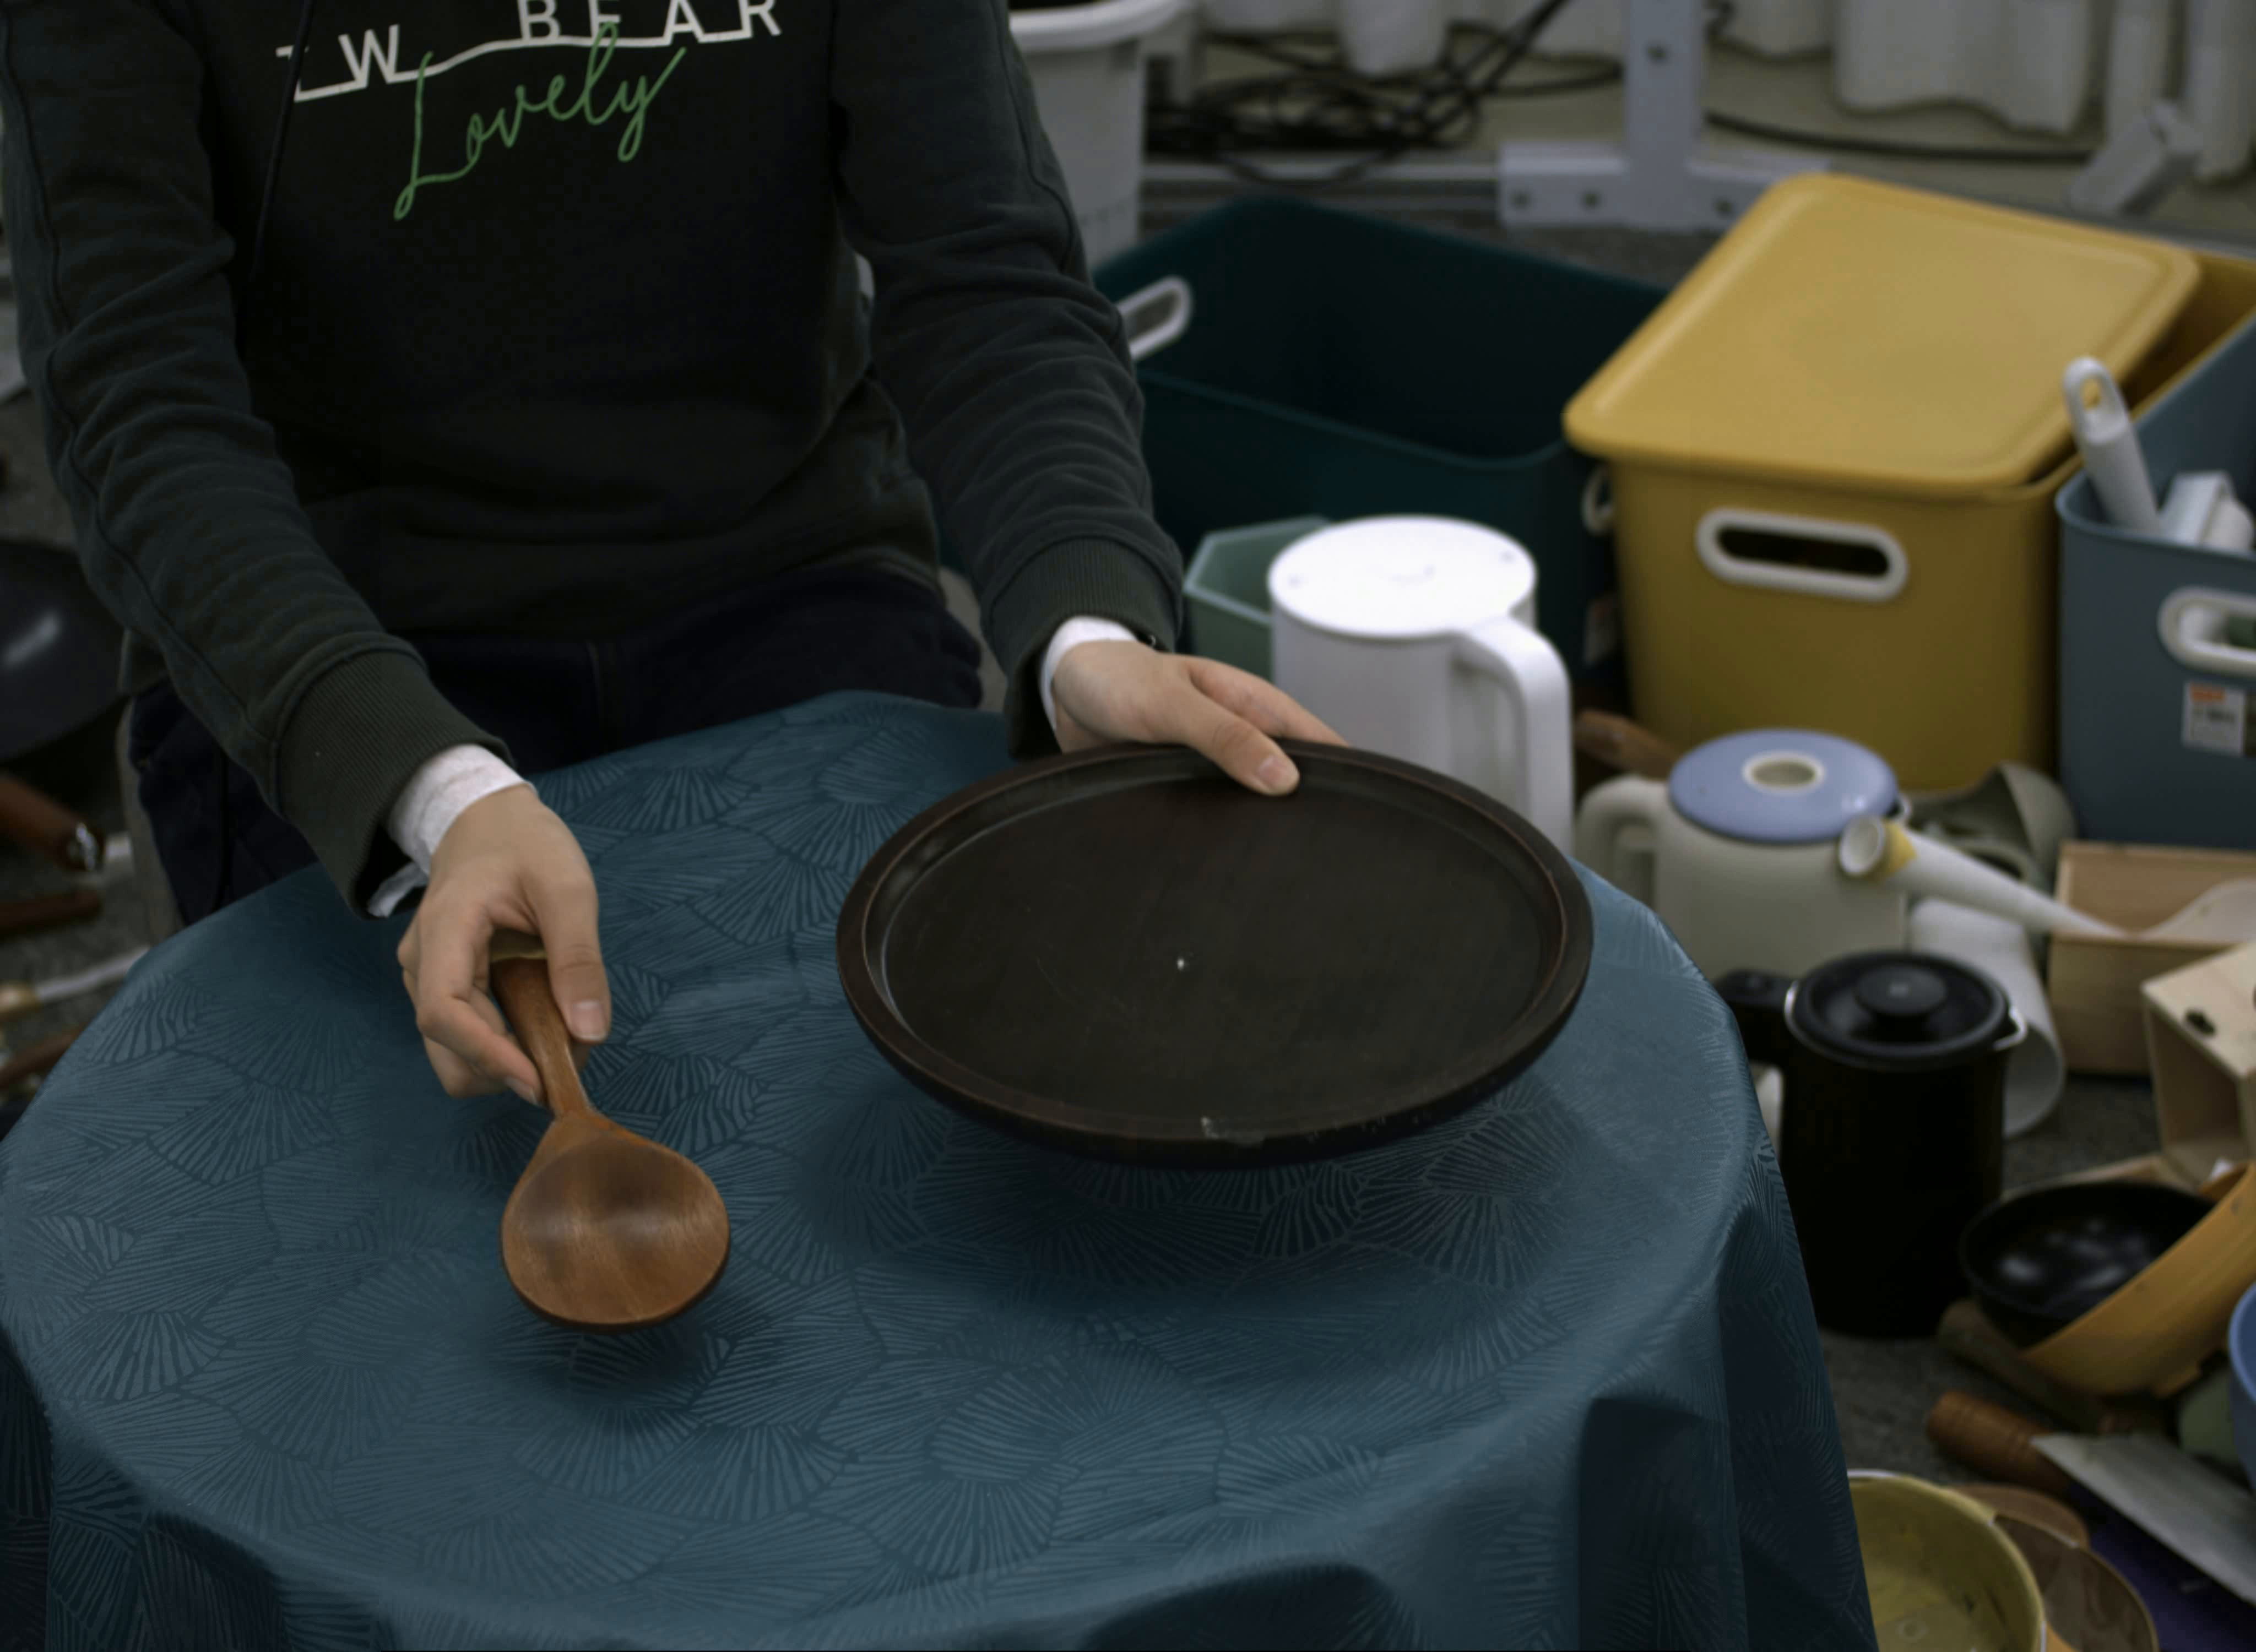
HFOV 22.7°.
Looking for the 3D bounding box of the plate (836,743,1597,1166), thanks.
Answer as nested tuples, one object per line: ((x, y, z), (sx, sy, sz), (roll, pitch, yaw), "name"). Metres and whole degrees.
((0.029, 0.040, 1.869), (0.253, 0.028, 0.259), (0, 31, 0), "plate")

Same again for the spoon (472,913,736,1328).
((-0.181, 0.096, 1.836), (0.075, 0.017, 0.219), (-15, 38, -10), "spoon")
